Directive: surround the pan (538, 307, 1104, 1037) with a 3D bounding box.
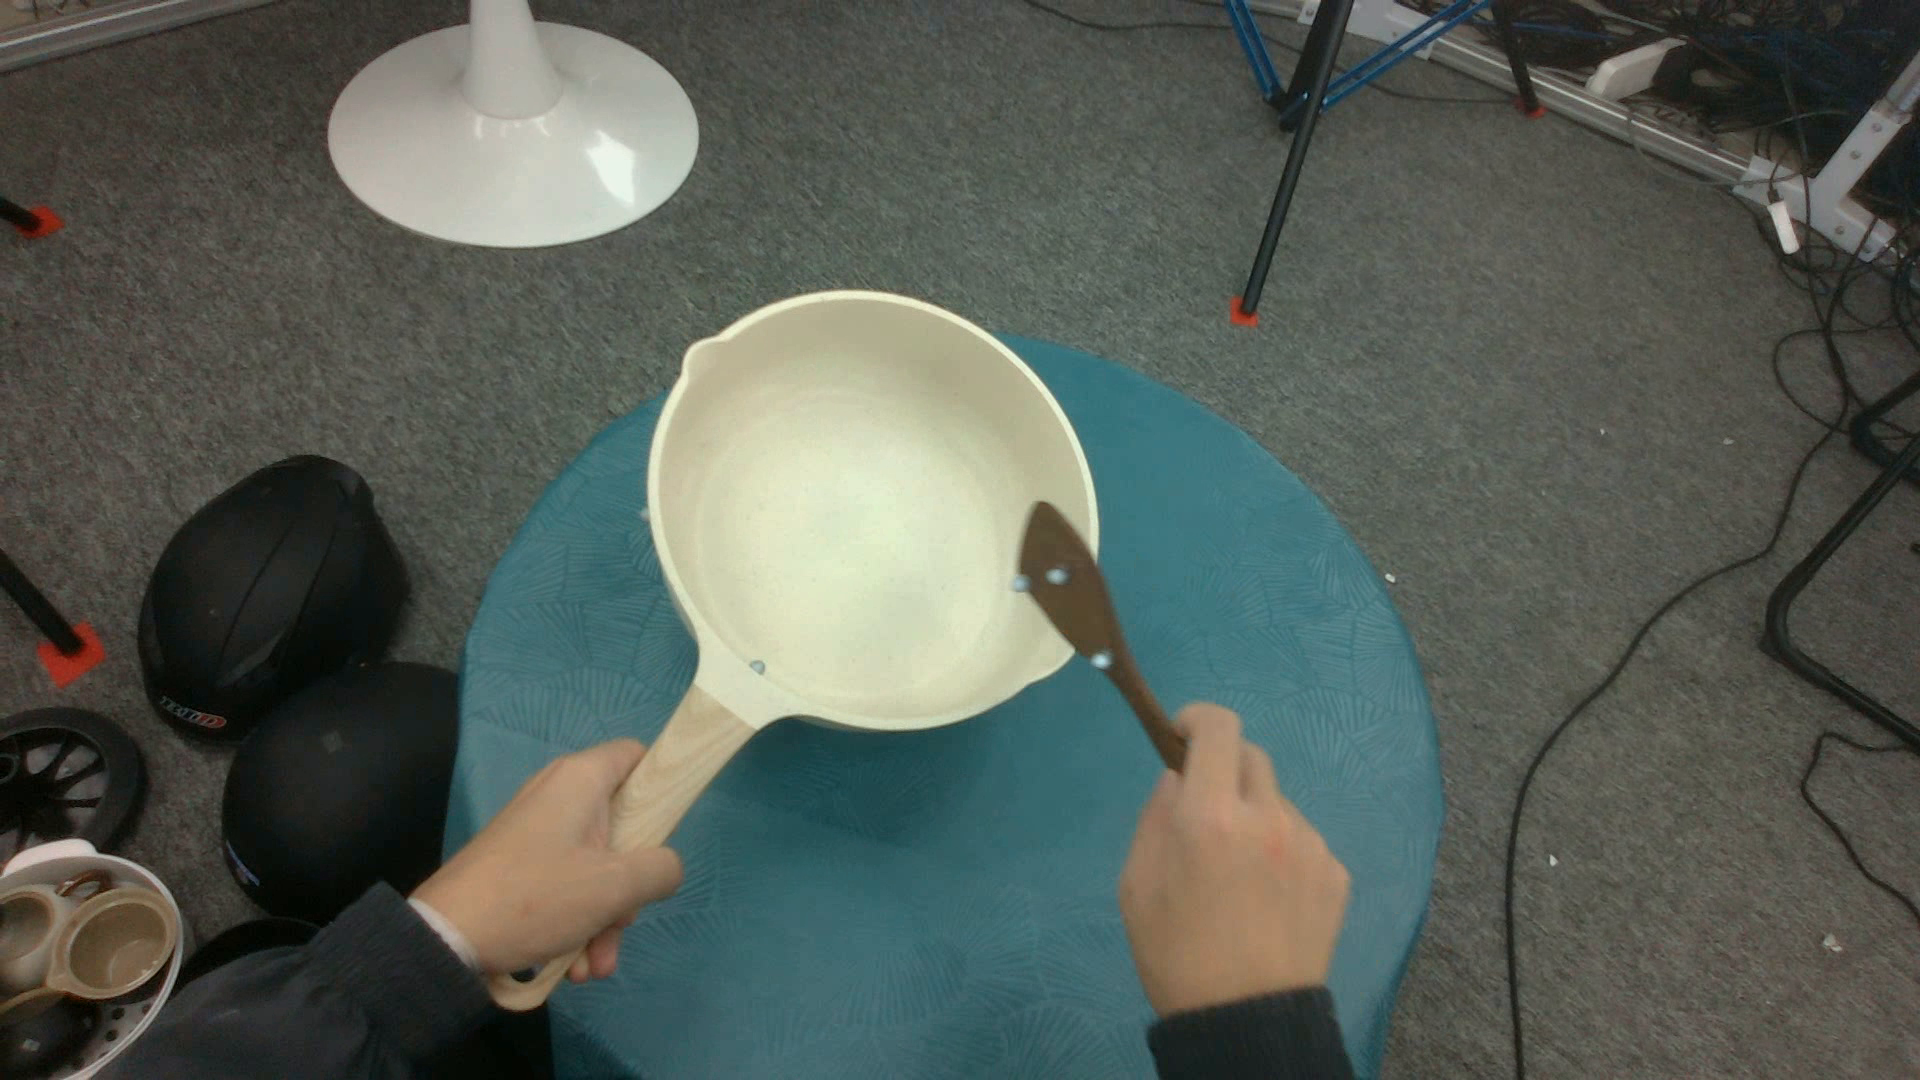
[{"bbox_3d":[-0.091,0.065,0.746,0.263,0.101,0.437,34,64,-4],"label":"pan"}]

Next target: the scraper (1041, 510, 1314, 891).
[{"bbox_3d":[0.101,0.076,0.662,0.011,0.075,0.211,-23,61,-21],"label":"scraper"}]
